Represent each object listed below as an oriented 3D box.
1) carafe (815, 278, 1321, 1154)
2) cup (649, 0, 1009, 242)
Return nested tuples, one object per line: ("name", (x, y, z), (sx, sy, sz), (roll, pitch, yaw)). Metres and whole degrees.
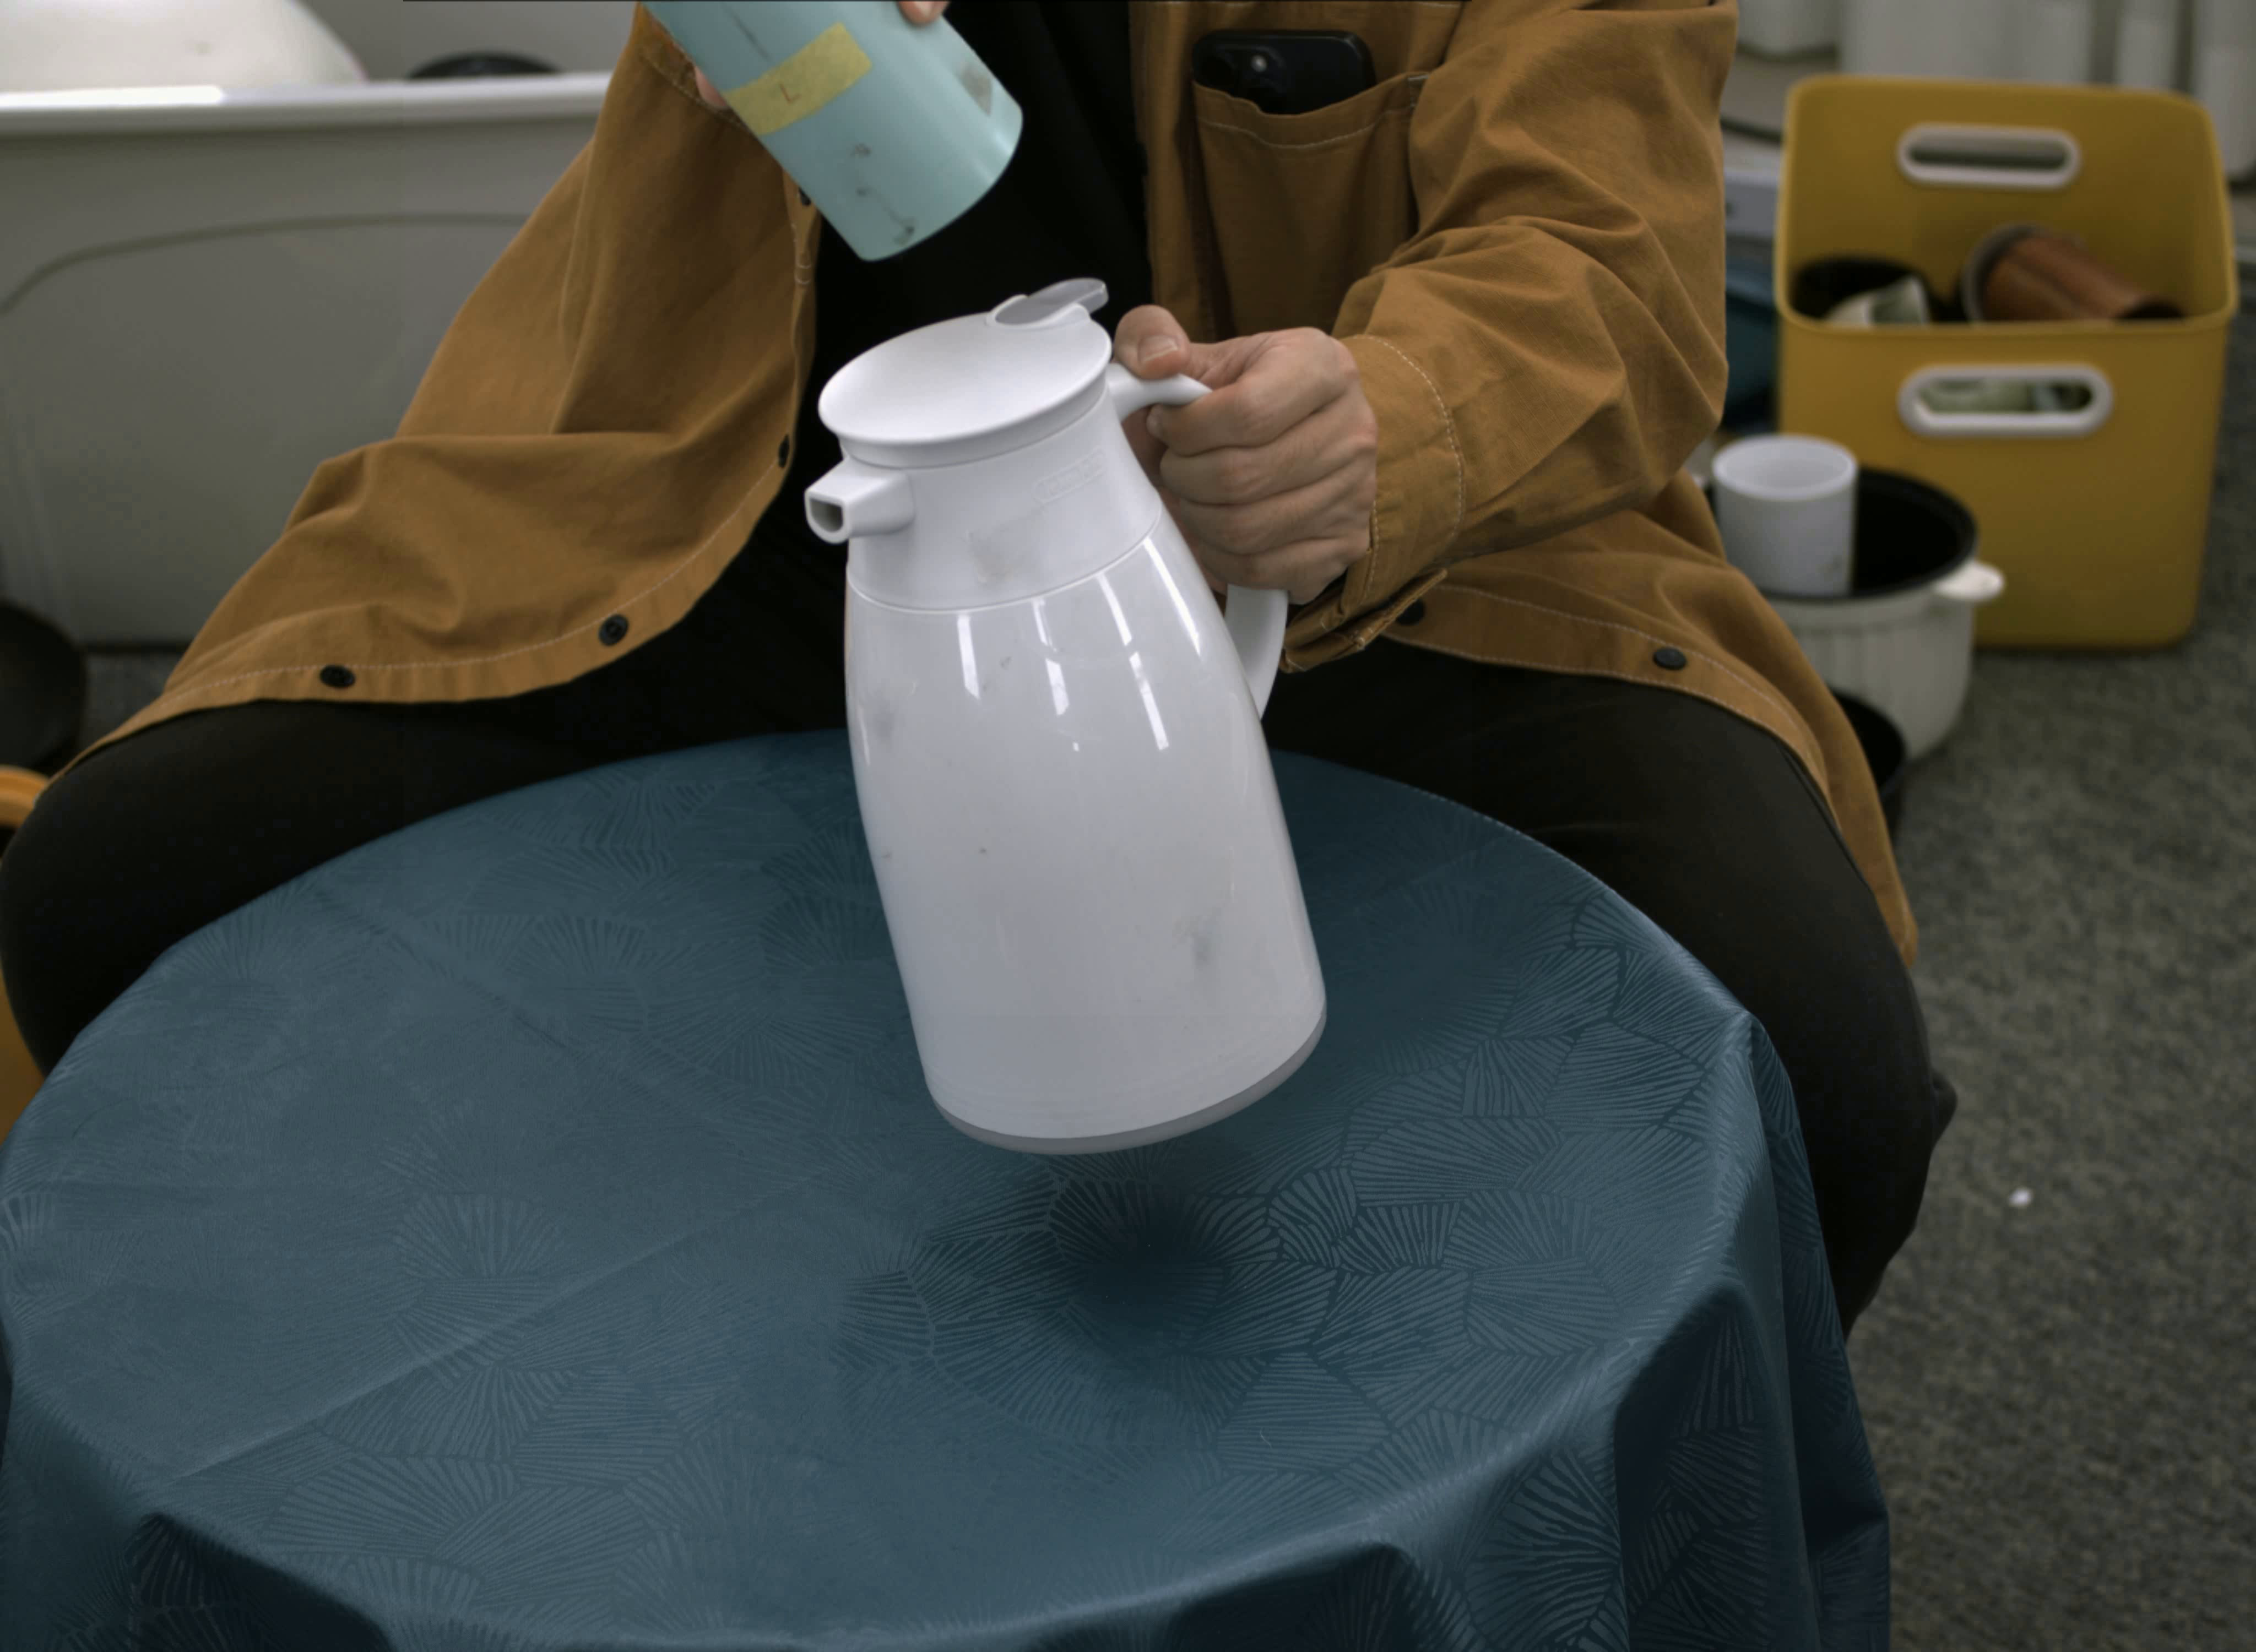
("carafe", (-0.012, -0.045, 1.767), (0.170, 0.246, 0.132), (-30, 31, -34))
("cup", (-0.098, -0.241, 1.649), (0.066, 0.131, 0.068), (-31, 28, 19))
